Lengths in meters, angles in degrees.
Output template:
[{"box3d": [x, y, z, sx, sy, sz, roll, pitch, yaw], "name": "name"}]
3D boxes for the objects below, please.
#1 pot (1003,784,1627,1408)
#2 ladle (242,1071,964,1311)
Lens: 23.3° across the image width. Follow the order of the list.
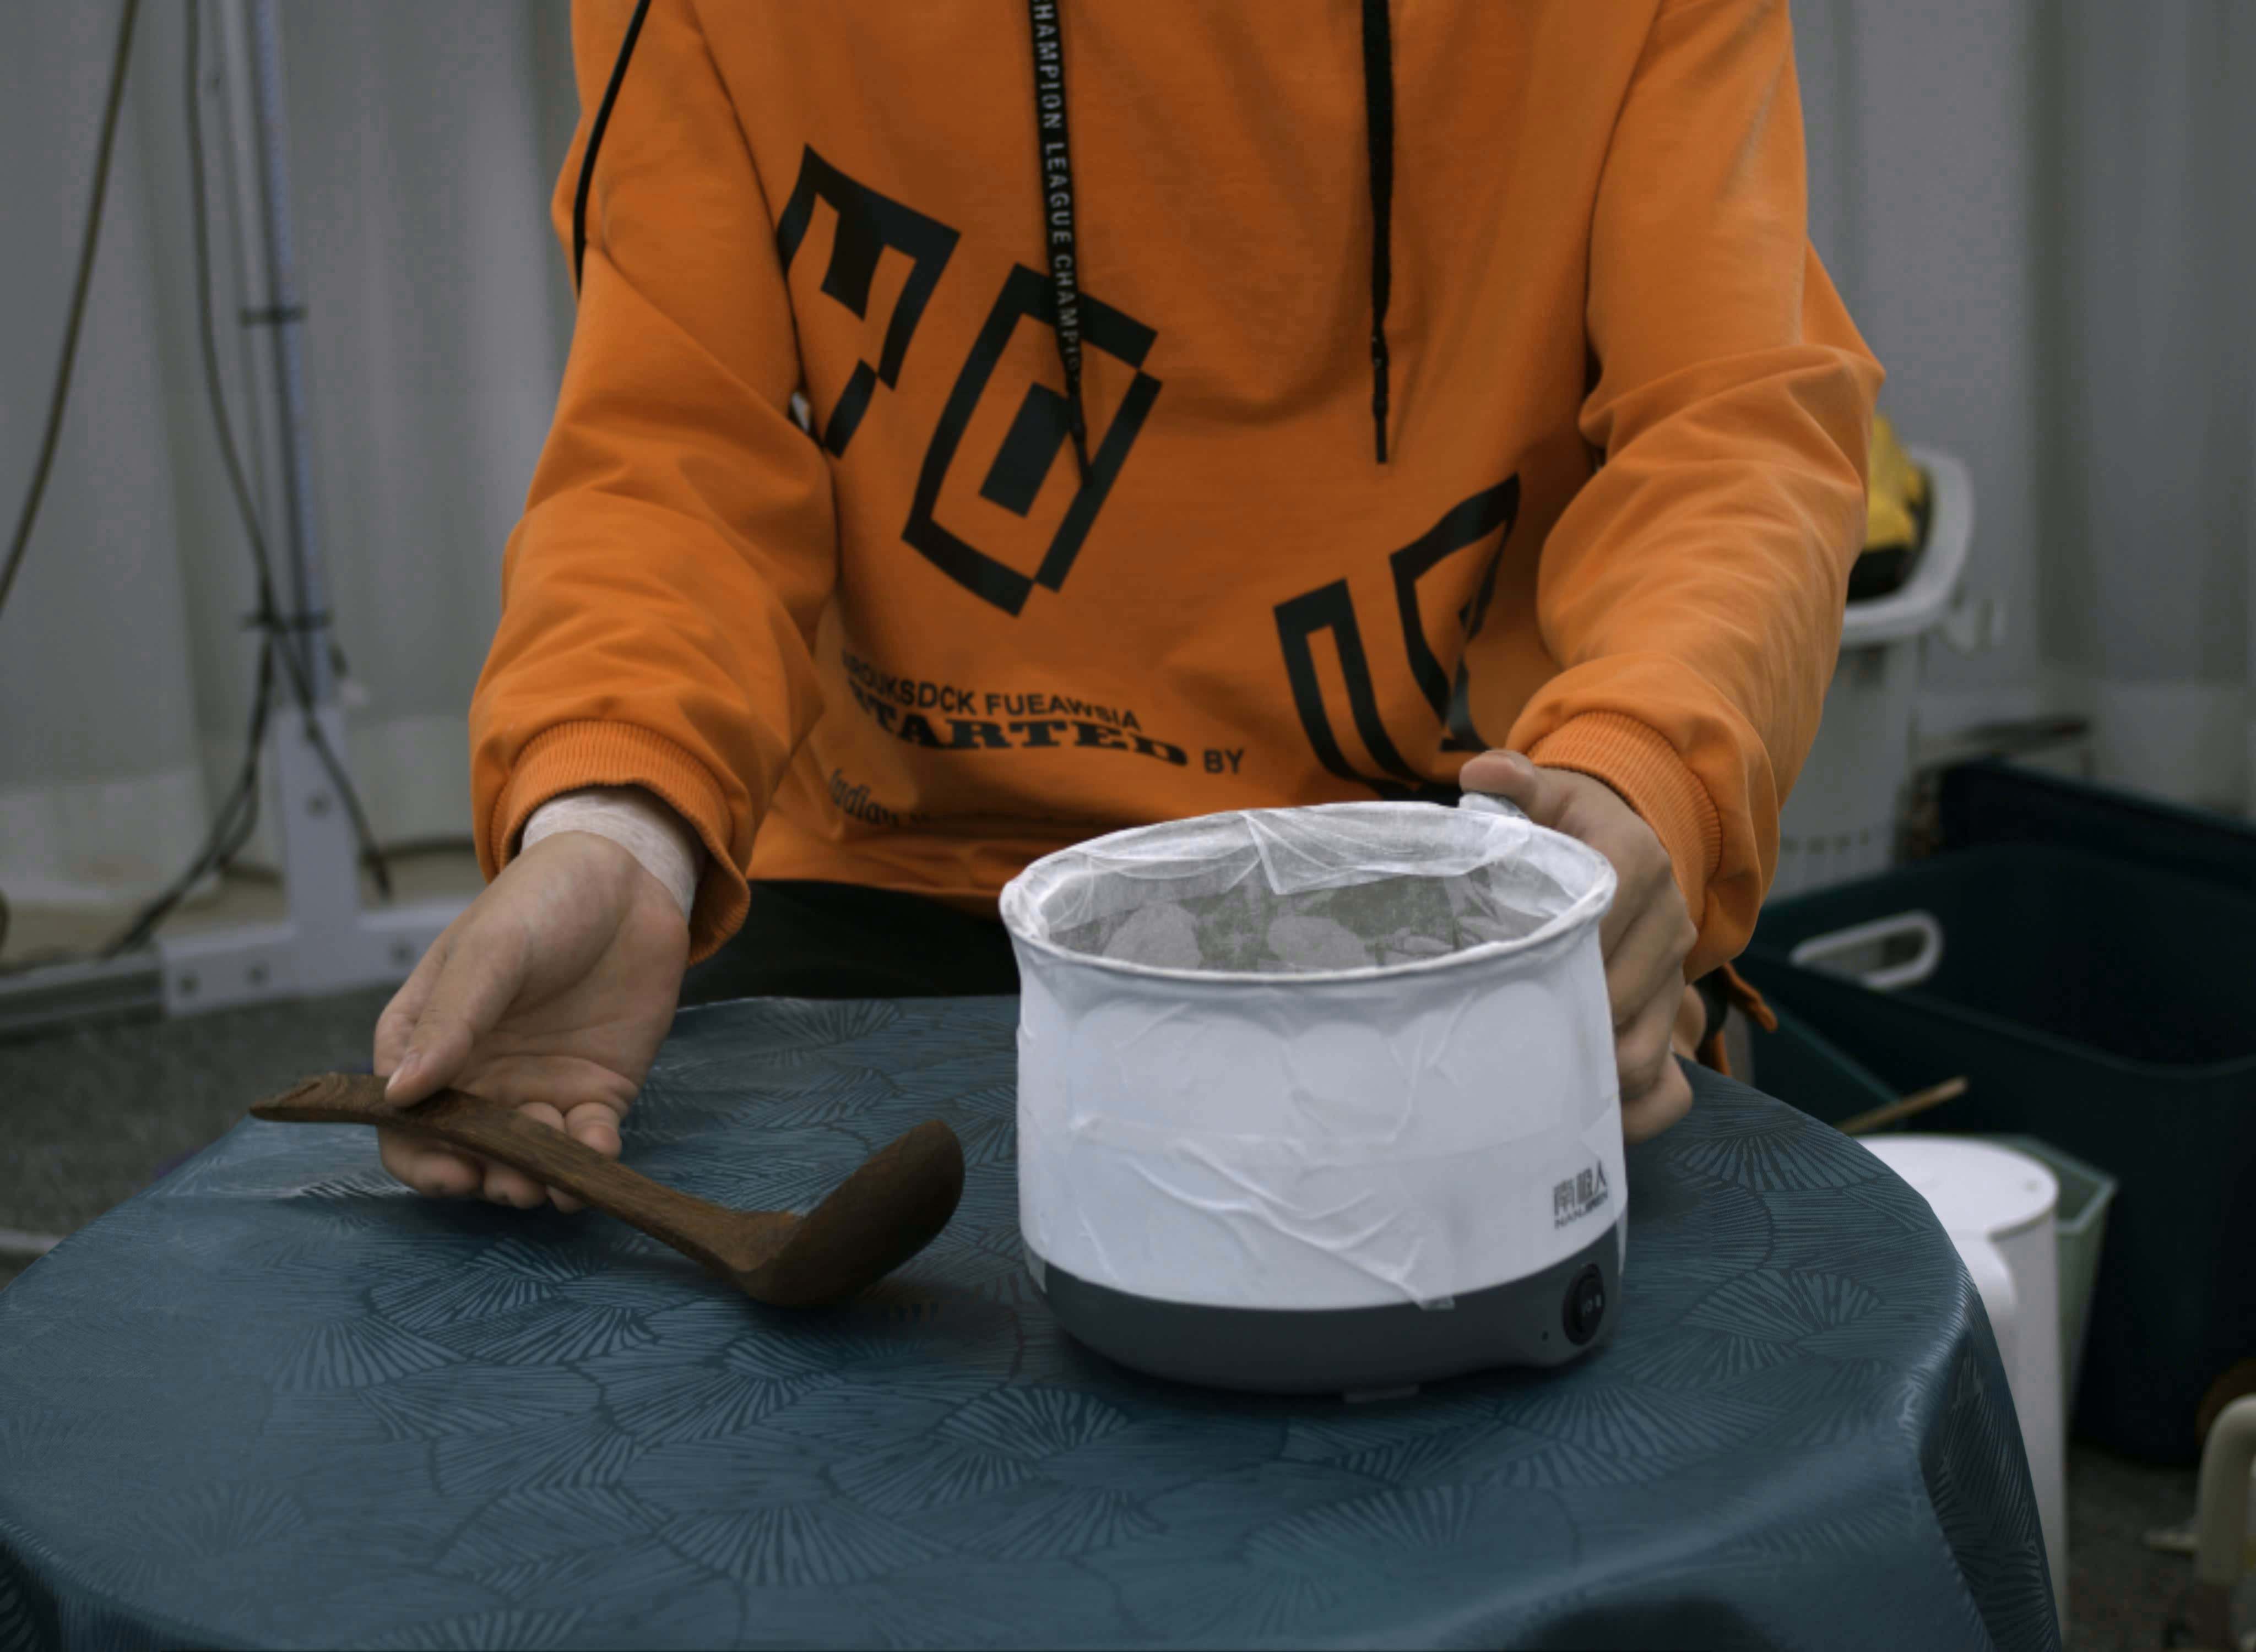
[{"box3d": [0.070, 0.071, 1.599, 0.179, 0.136, 0.234, 7, 18, 32], "name": "pot"}, {"box3d": [-0.168, 0.089, 1.674, 0.275, 0.071, 0.076, 17, 26, 34], "name": "ladle"}]
